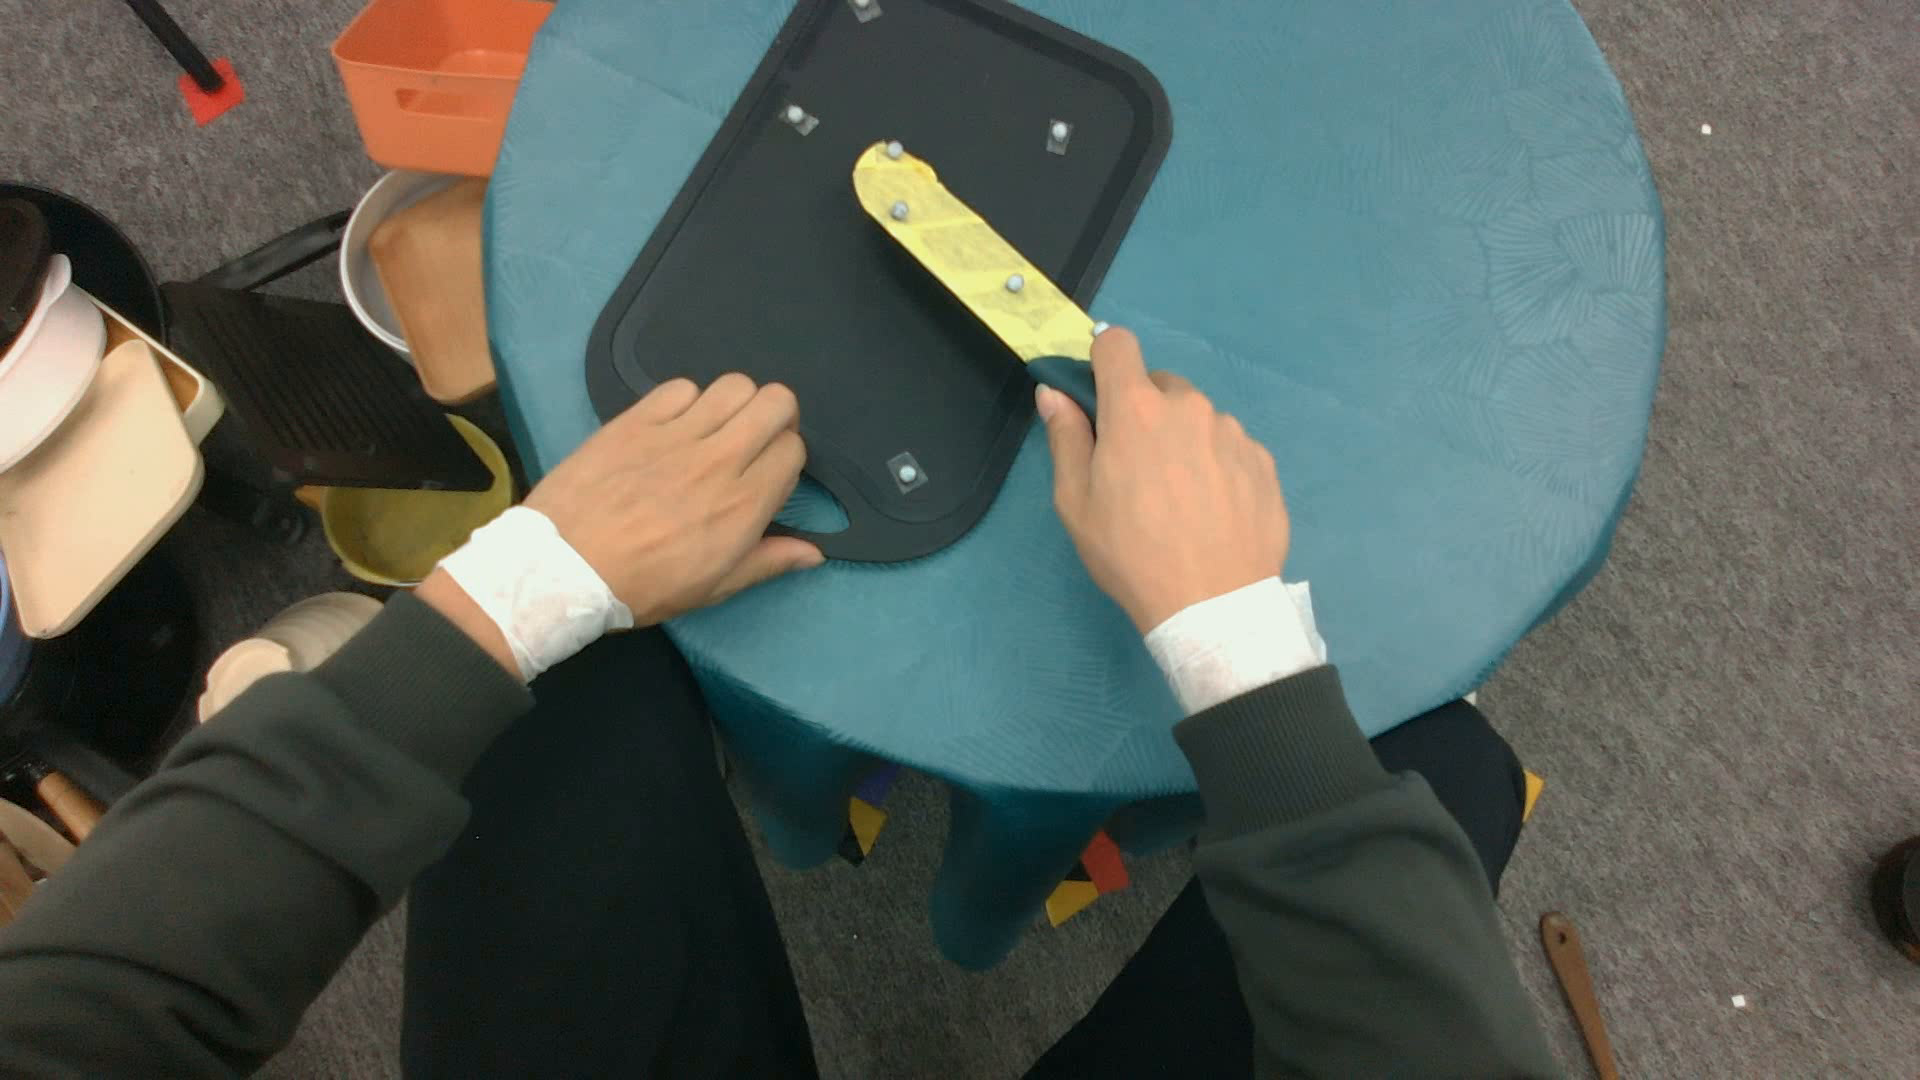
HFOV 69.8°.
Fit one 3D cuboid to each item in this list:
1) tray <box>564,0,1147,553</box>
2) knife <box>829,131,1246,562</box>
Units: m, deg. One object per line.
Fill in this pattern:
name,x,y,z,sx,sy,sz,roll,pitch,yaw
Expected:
tray,-0.049,-0.151,0.686,0.211,0.010,0.326,25,73,3
knife,0.034,-0.101,0.644,0.290,0.027,0.081,49,40,17
